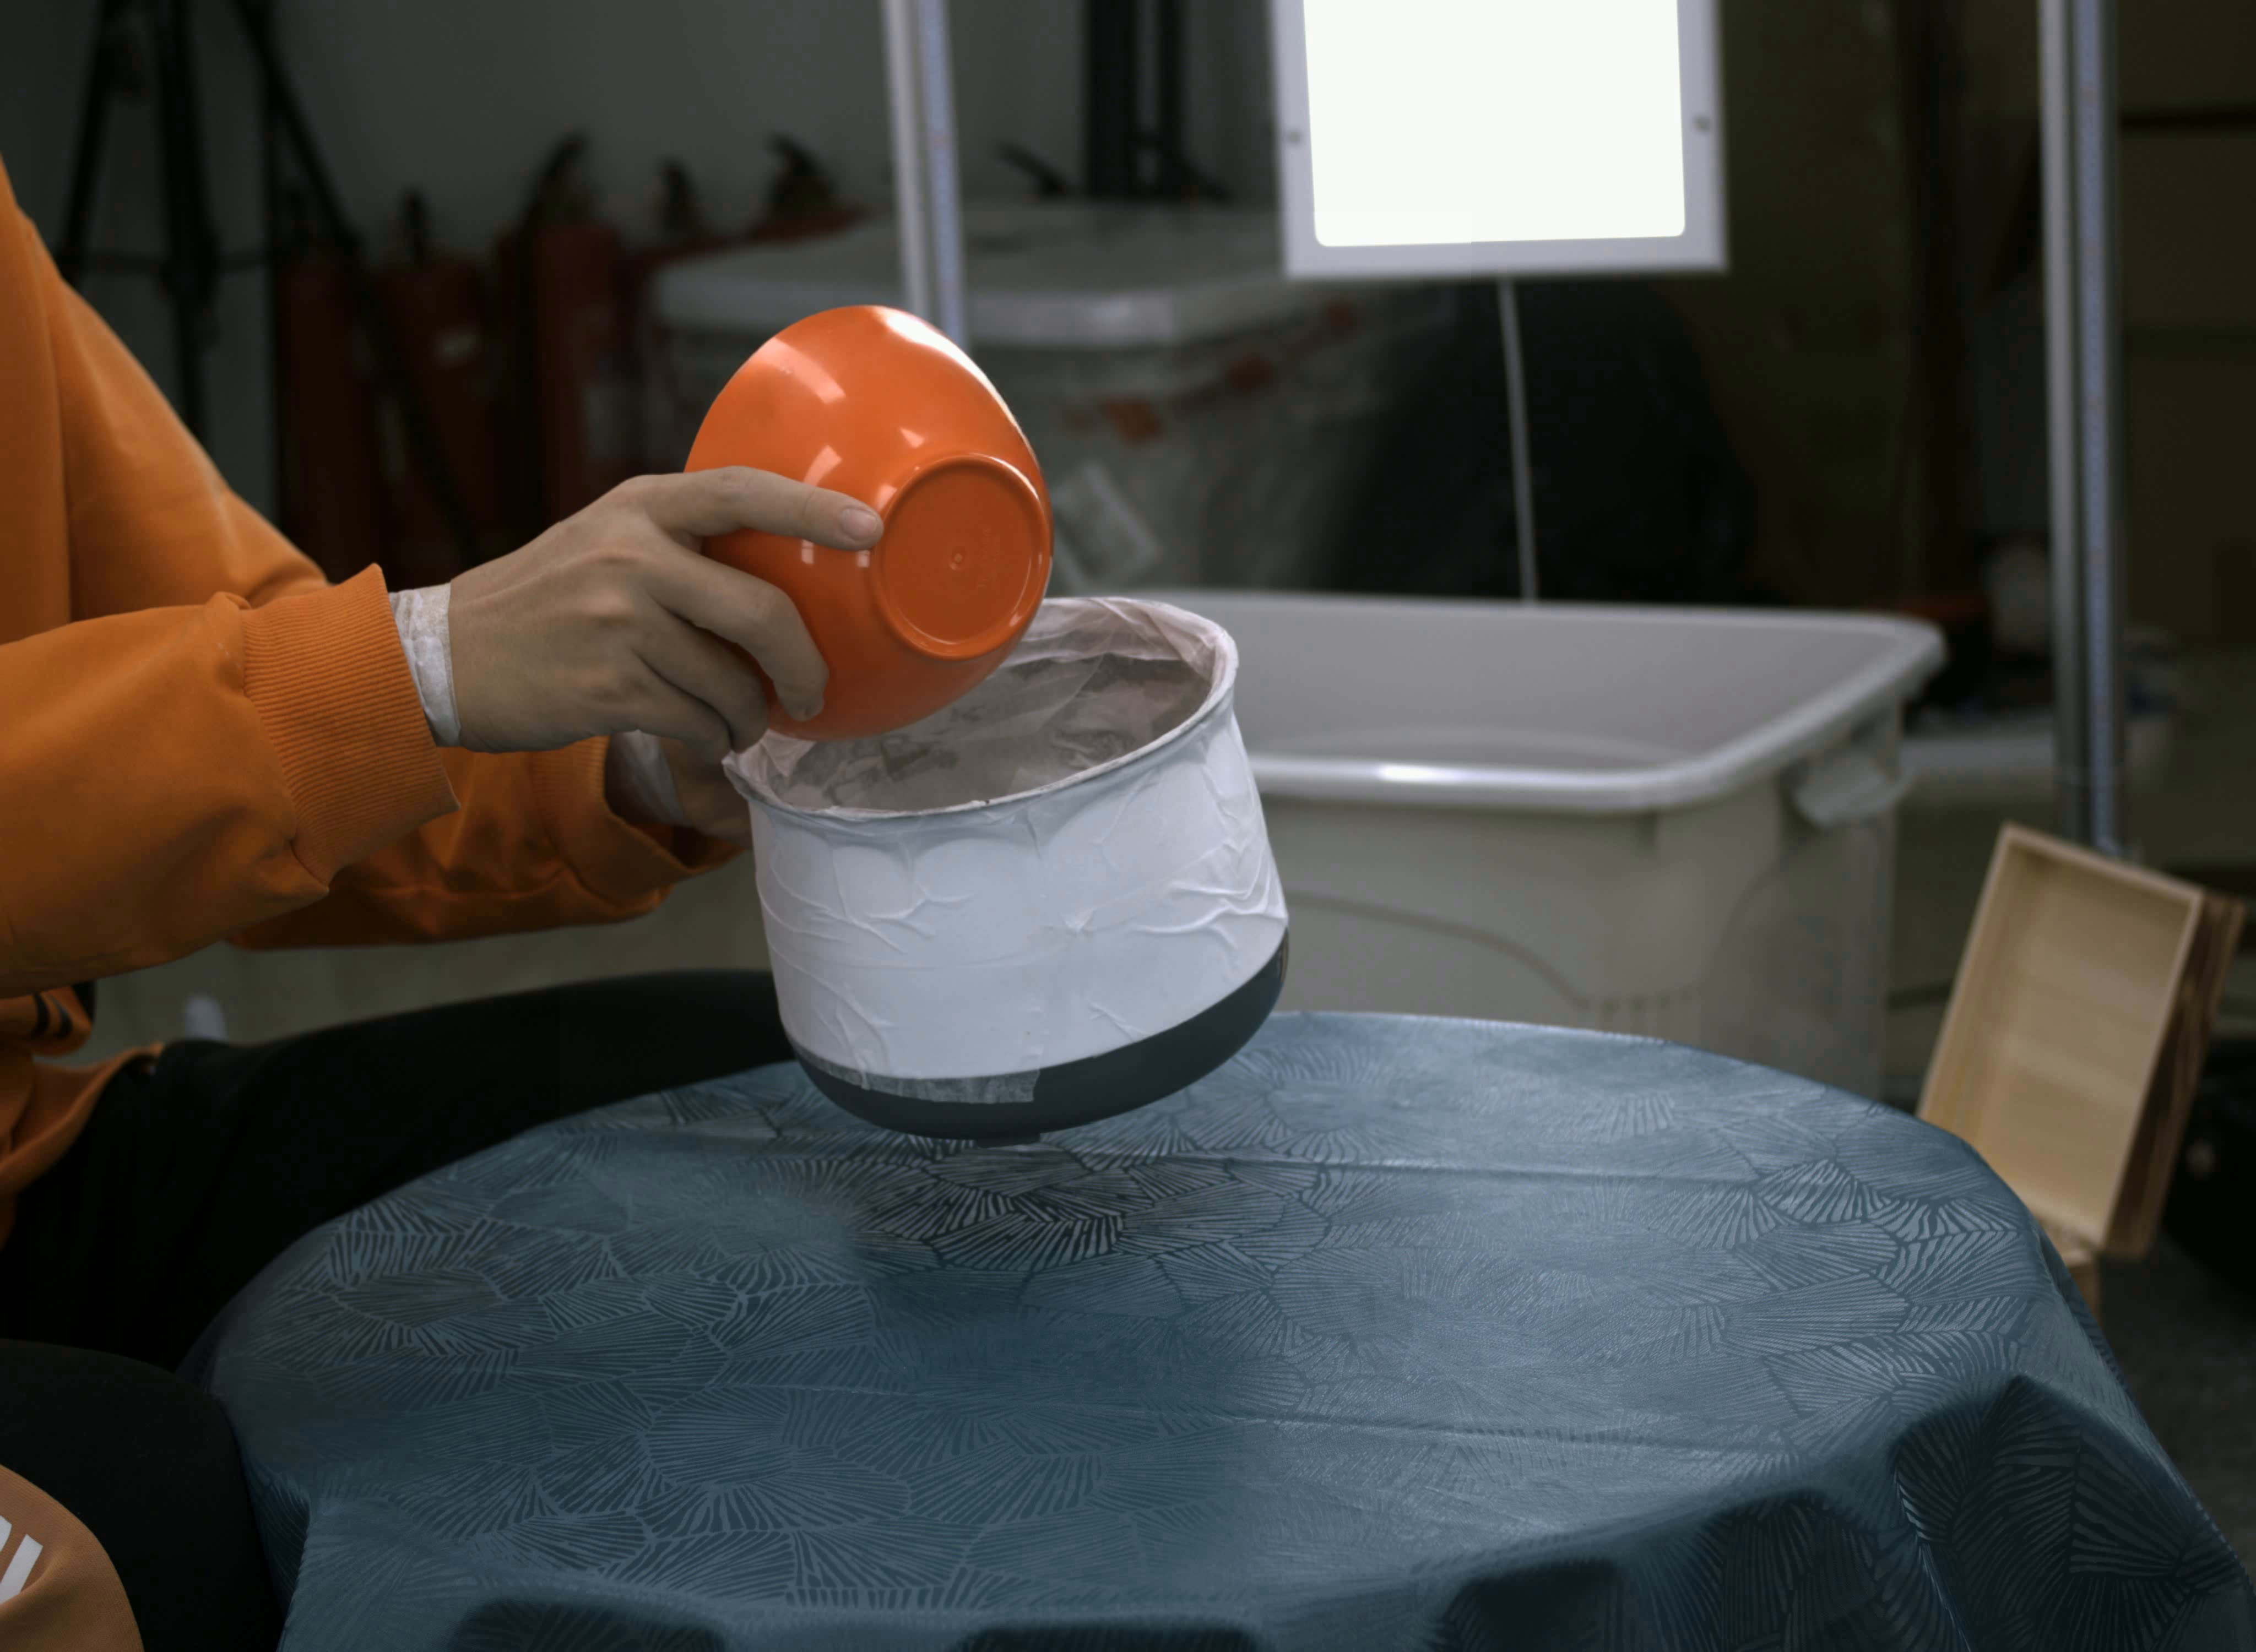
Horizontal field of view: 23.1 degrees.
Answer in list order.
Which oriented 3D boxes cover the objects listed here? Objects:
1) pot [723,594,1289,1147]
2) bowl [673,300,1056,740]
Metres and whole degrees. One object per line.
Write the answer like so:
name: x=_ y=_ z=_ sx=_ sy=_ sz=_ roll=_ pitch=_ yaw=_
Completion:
pot: x=-0.054 y=0.009 z=1.883 sx=0.175 sy=0.137 sz=0.238 roll=-24 pitch=26 yaw=-27
bowl: x=-0.070 y=-0.095 z=1.803 sx=0.144 sy=0.148 sz=0.106 roll=-13 pitch=17 yaw=-31
